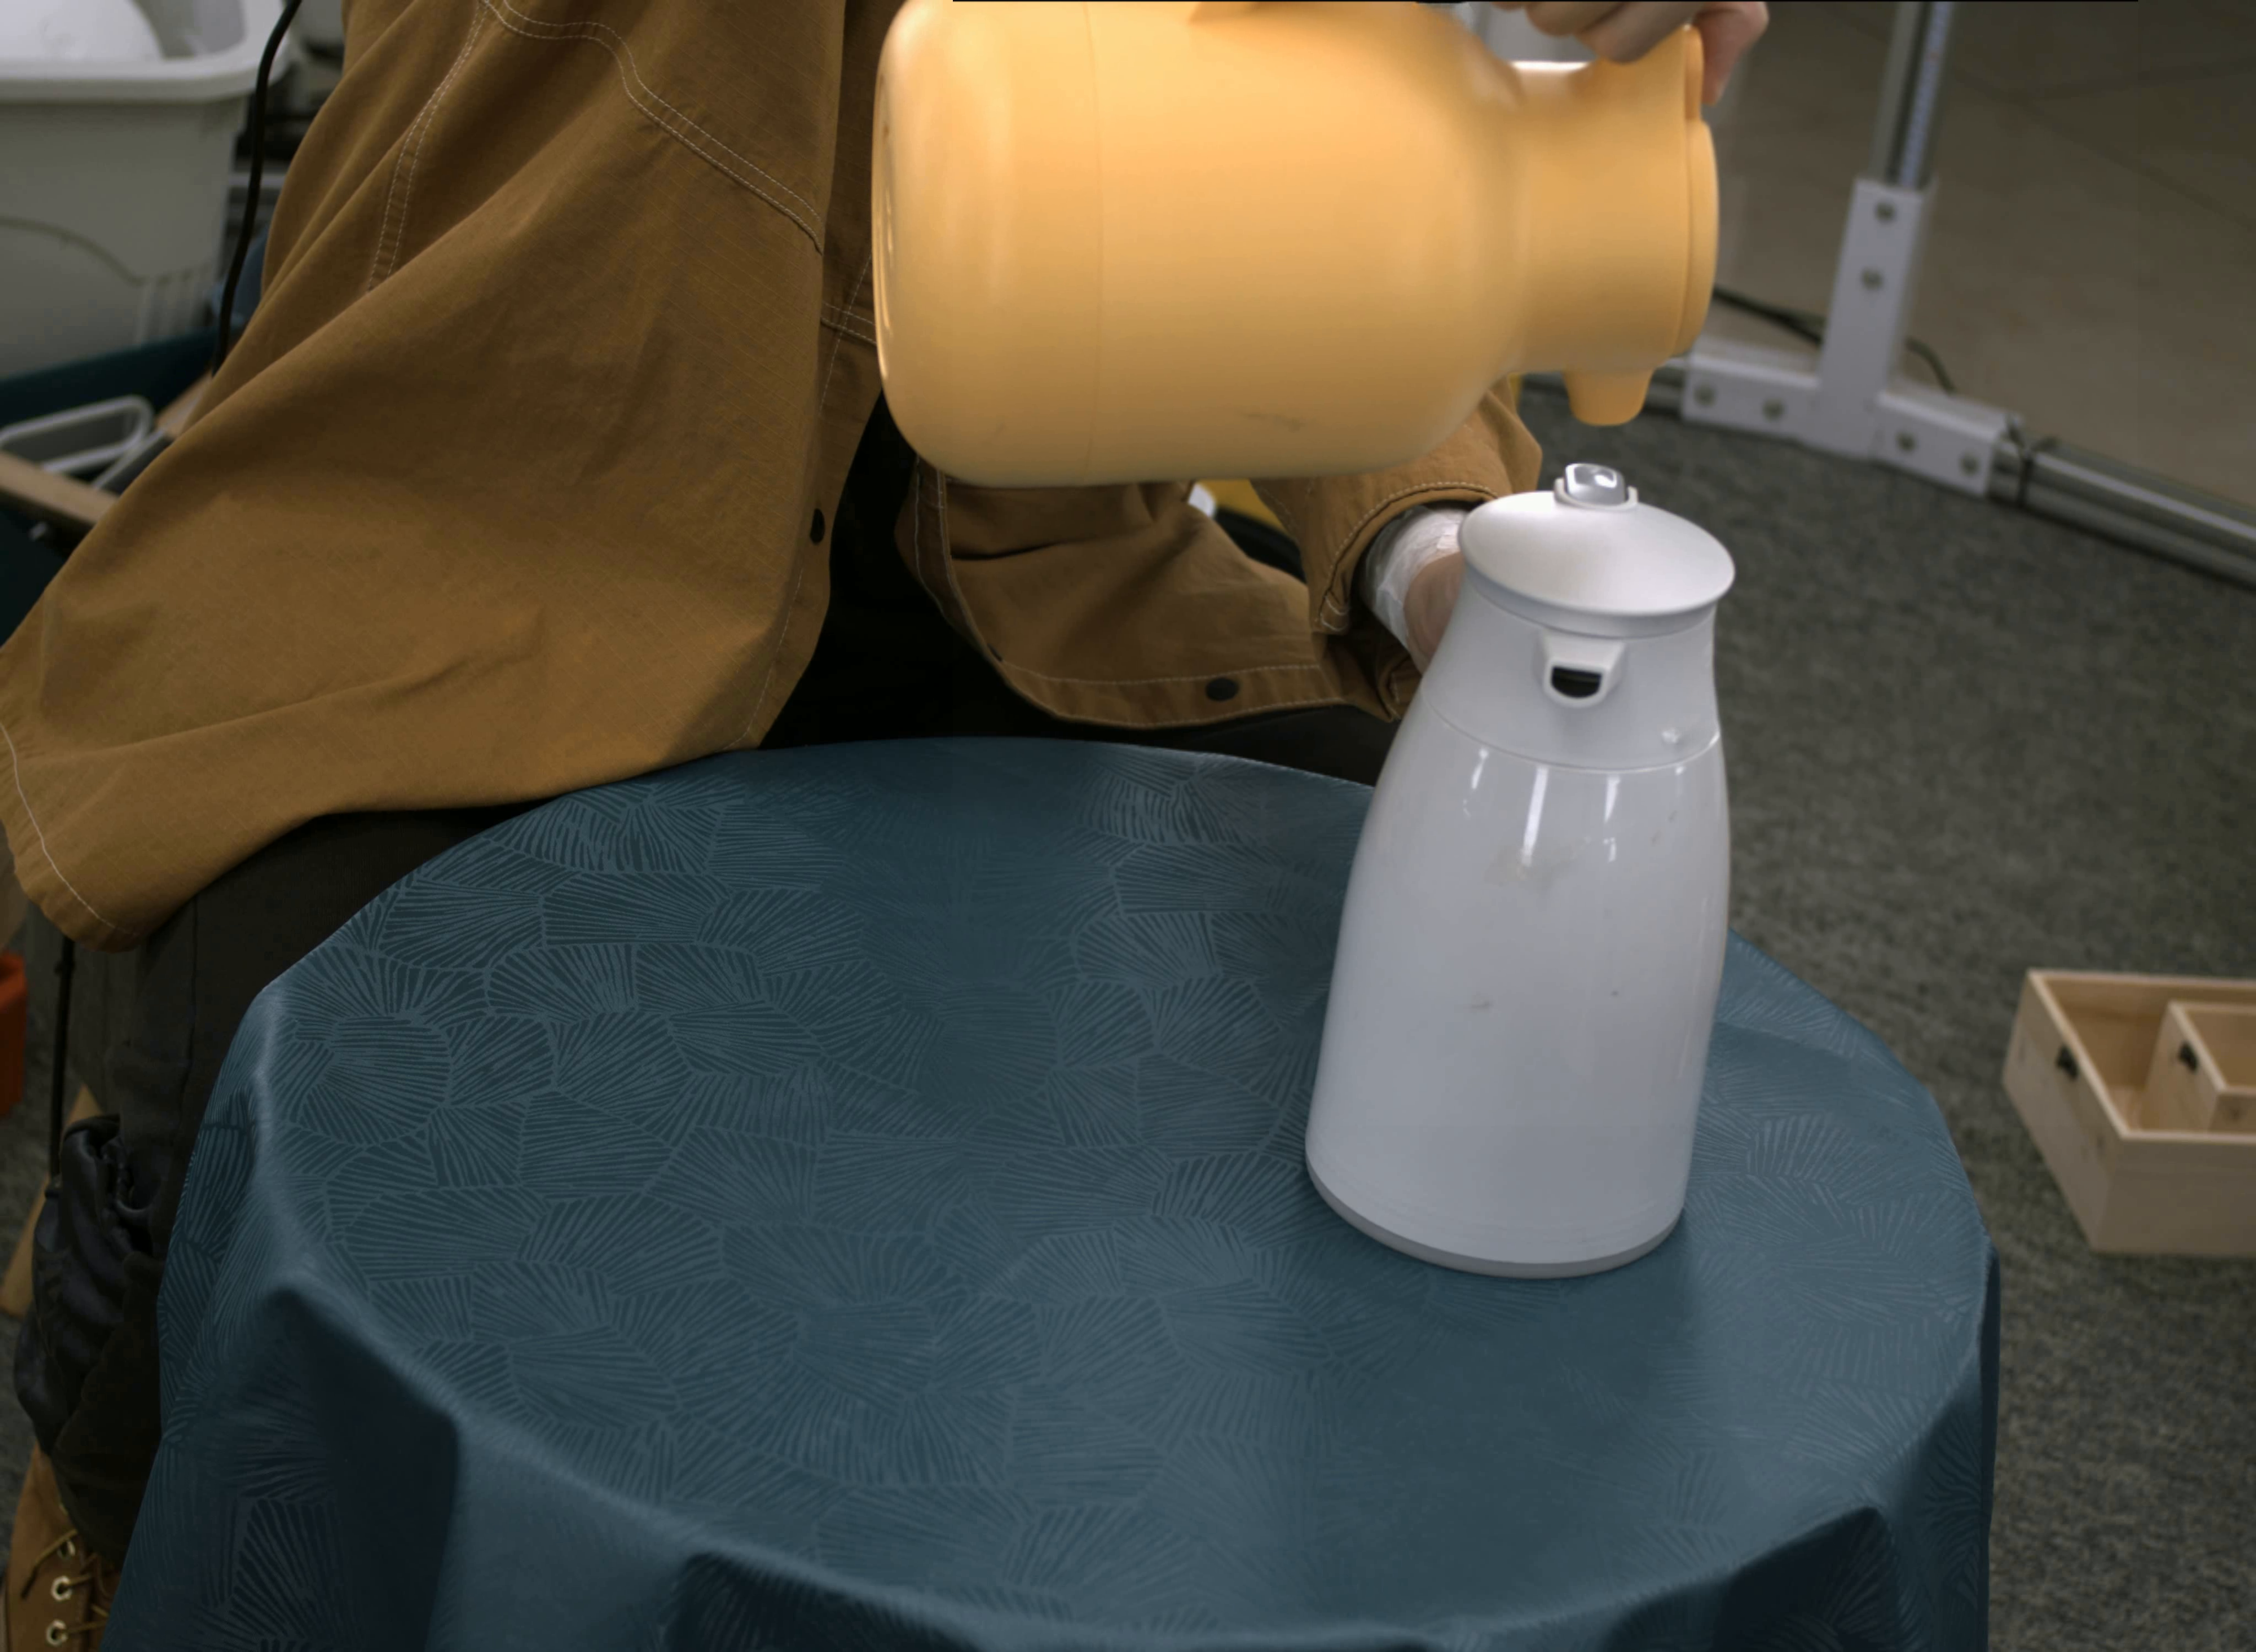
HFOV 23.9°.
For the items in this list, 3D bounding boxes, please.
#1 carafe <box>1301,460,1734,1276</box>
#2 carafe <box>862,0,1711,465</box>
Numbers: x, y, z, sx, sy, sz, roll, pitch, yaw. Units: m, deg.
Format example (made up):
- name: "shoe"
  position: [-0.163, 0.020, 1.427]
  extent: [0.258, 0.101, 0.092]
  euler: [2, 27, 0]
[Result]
- name: "carafe"
  position: [0.140, 0.003, 1.800]
  extent: [0.132, 0.248, 0.168]
  euler: [9, 26, 4]
- name: "carafe"
  position: [0.051, -0.210, 1.651]
  extent: [0.259, 0.201, 0.165]
  euler: [0, 34, -8]
